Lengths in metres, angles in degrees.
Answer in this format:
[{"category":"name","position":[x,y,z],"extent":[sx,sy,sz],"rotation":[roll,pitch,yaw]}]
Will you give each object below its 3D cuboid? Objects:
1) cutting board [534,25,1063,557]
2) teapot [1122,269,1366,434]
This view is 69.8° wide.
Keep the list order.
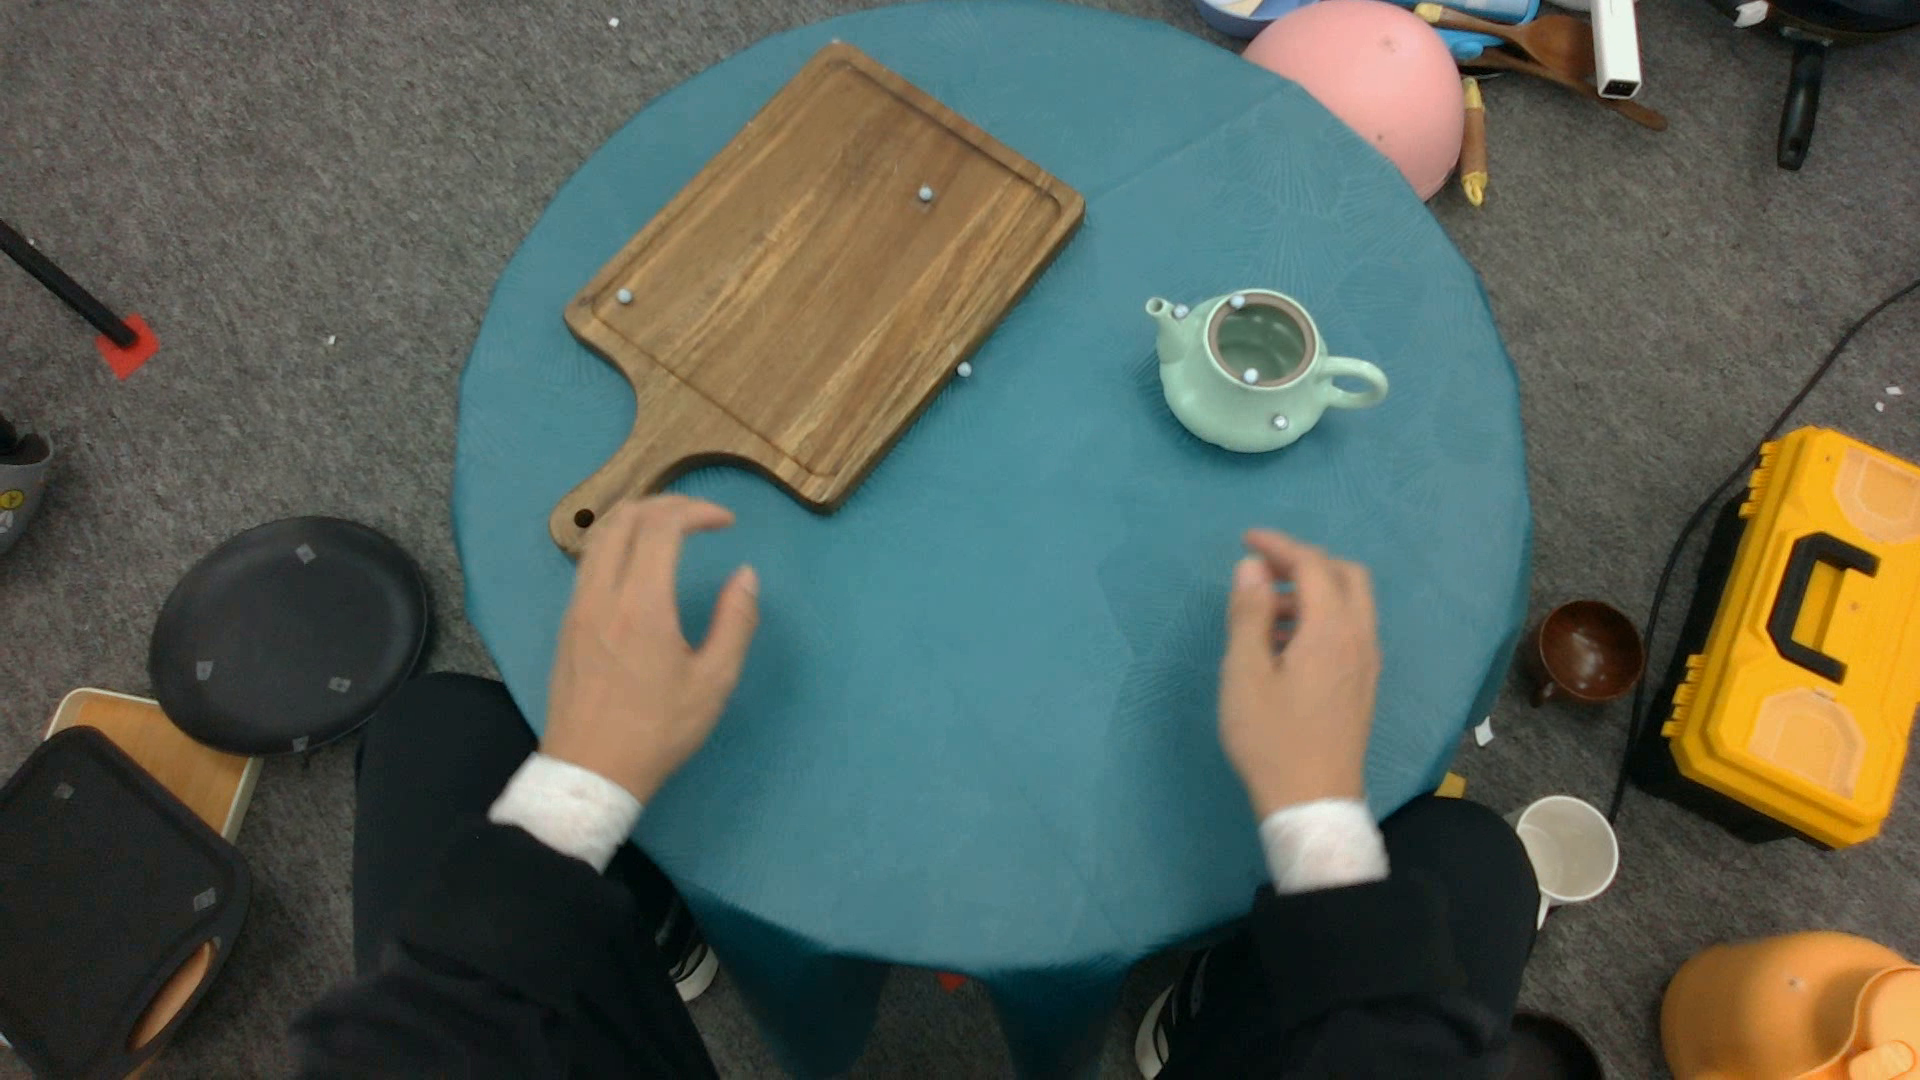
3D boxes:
[{"category":"cutting board","position":[-0.116,-0.132,0.781],"extent":[0.201,0.023,0.353],"rotation":[34,72,11]},{"category":"teapot","position":[0.153,-0.108,0.760],"extent":[0.137,0.061,0.096],"rotation":[15,69,4]}]
